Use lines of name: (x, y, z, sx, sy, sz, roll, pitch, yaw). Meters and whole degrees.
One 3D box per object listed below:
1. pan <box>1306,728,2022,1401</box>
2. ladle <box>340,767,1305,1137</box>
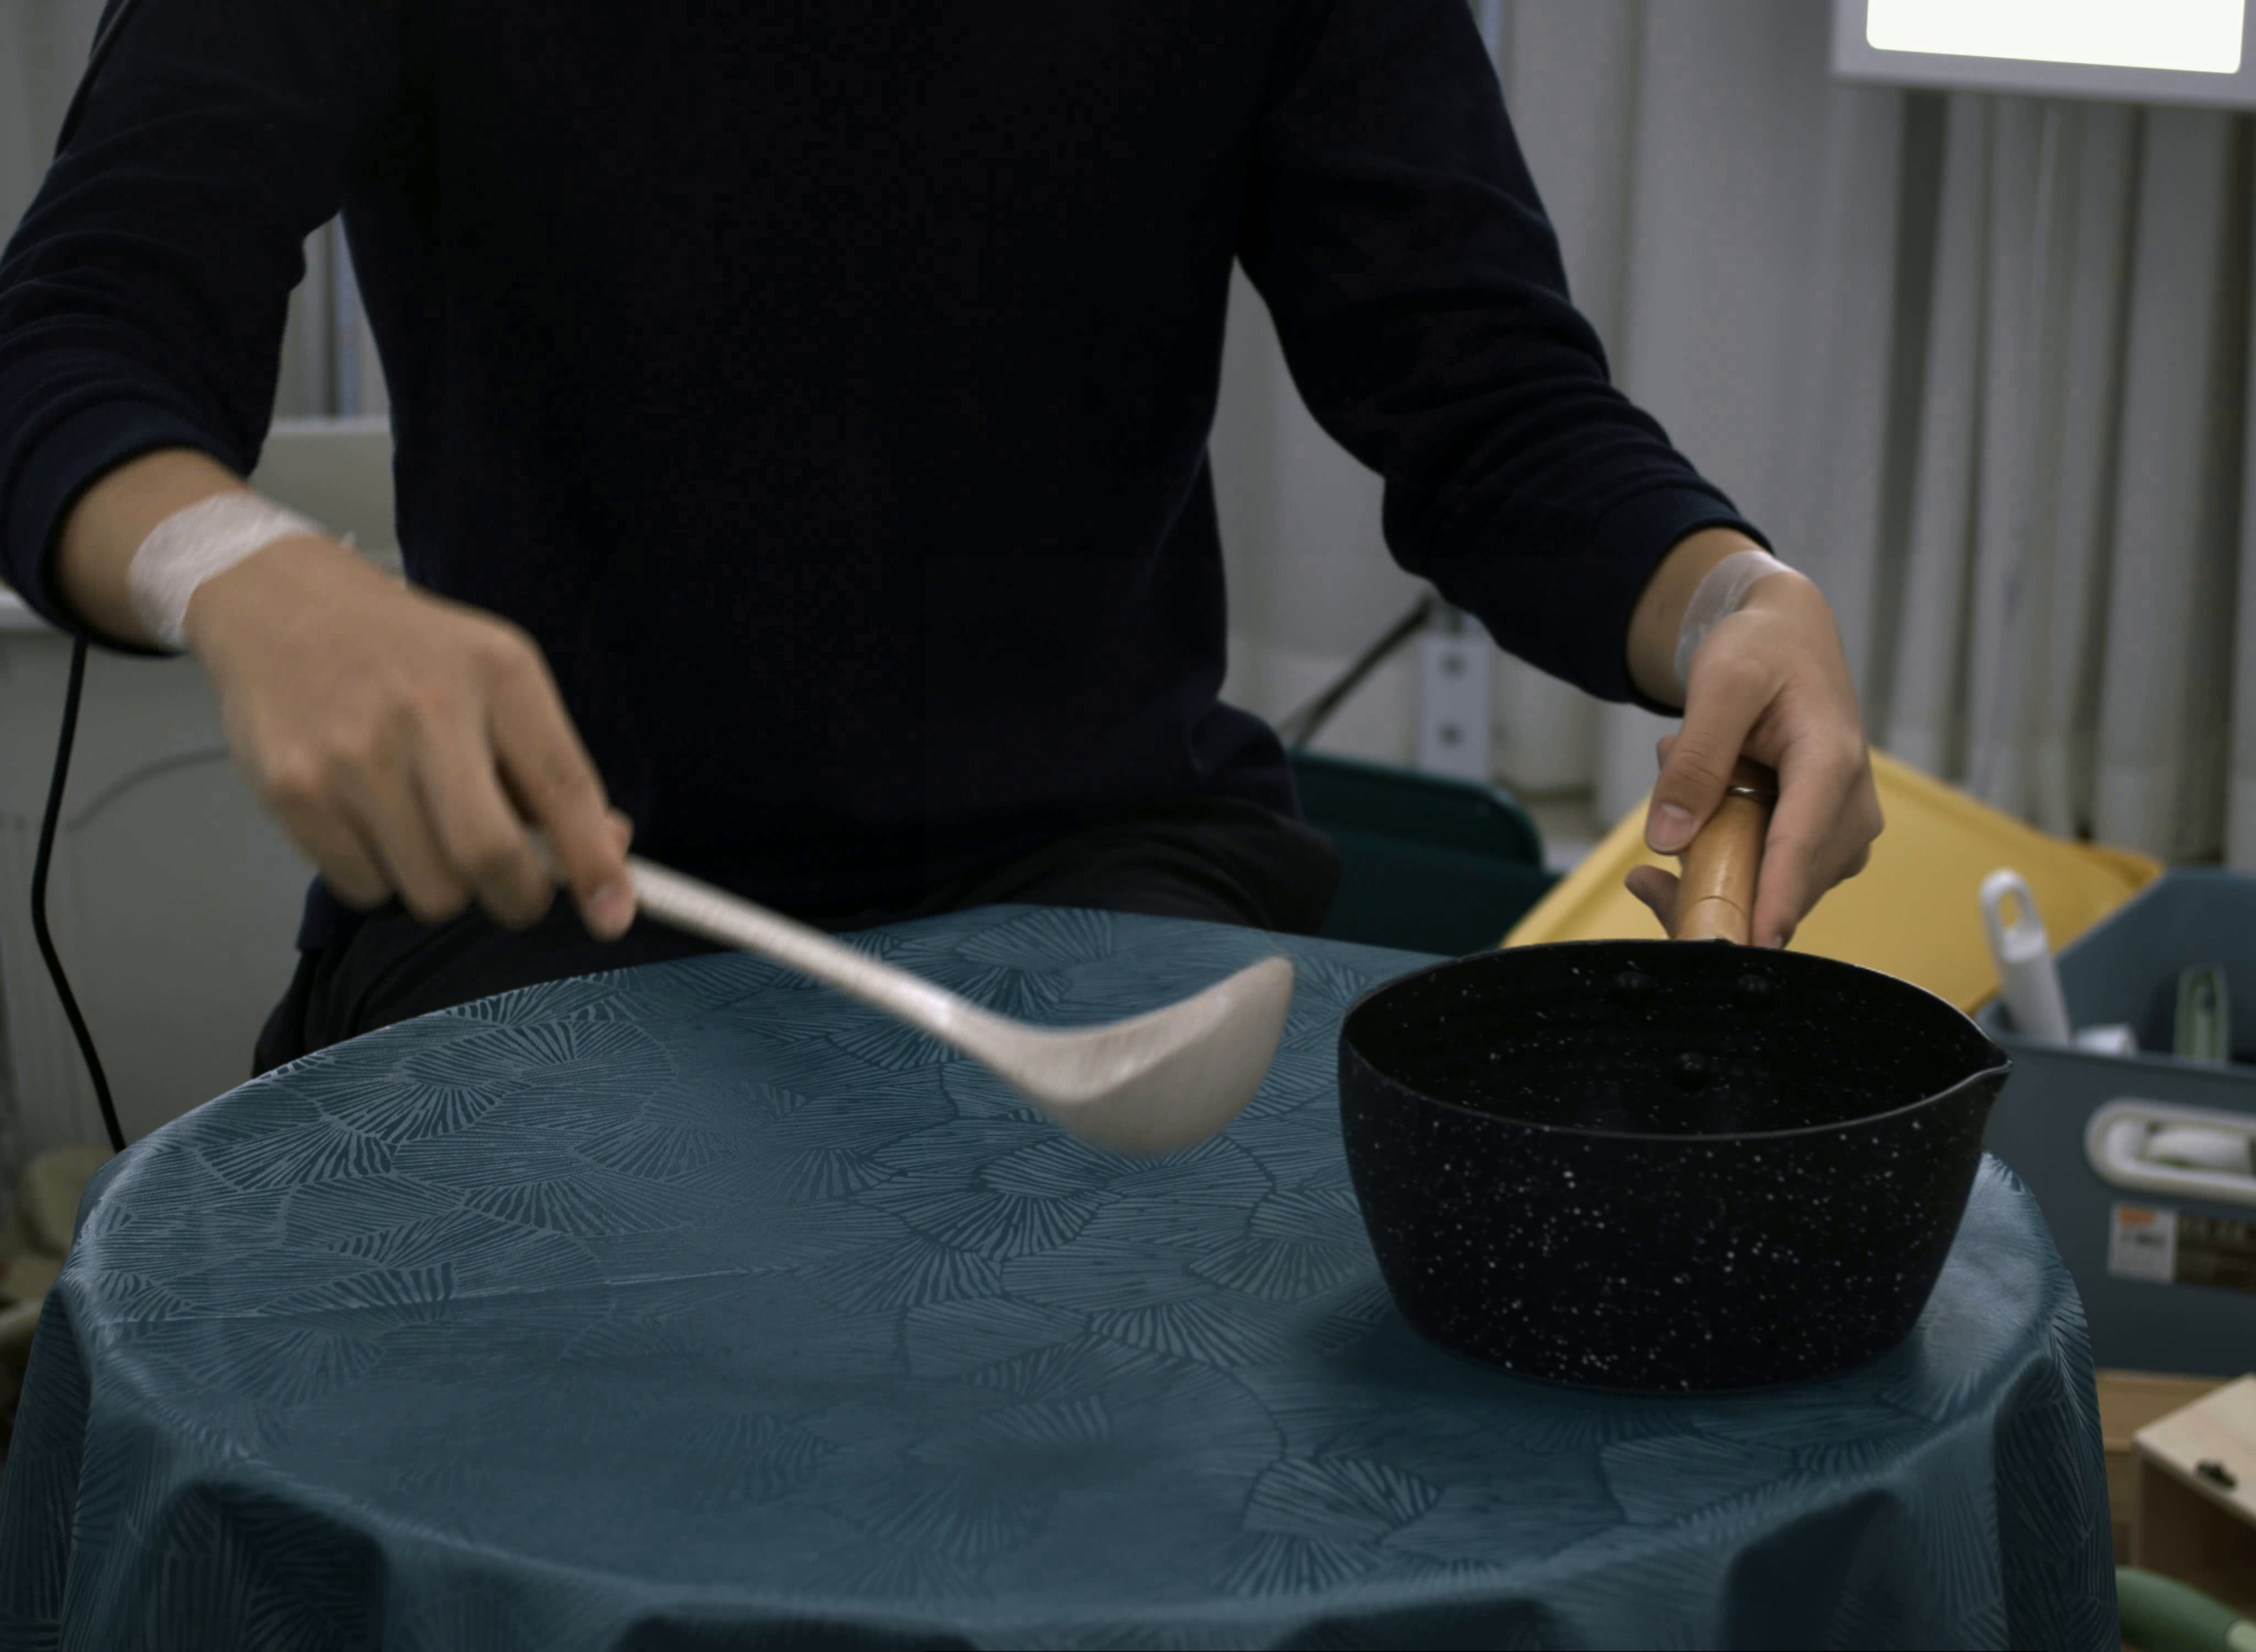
pan: (0.166, 0.066, 1.590, 0.206, 0.109, 0.342, 2, 17, 10)
ladle: (-0.085, 0.010, 1.432, 0.273, 0.070, 0.089, 23, 23, 10)
